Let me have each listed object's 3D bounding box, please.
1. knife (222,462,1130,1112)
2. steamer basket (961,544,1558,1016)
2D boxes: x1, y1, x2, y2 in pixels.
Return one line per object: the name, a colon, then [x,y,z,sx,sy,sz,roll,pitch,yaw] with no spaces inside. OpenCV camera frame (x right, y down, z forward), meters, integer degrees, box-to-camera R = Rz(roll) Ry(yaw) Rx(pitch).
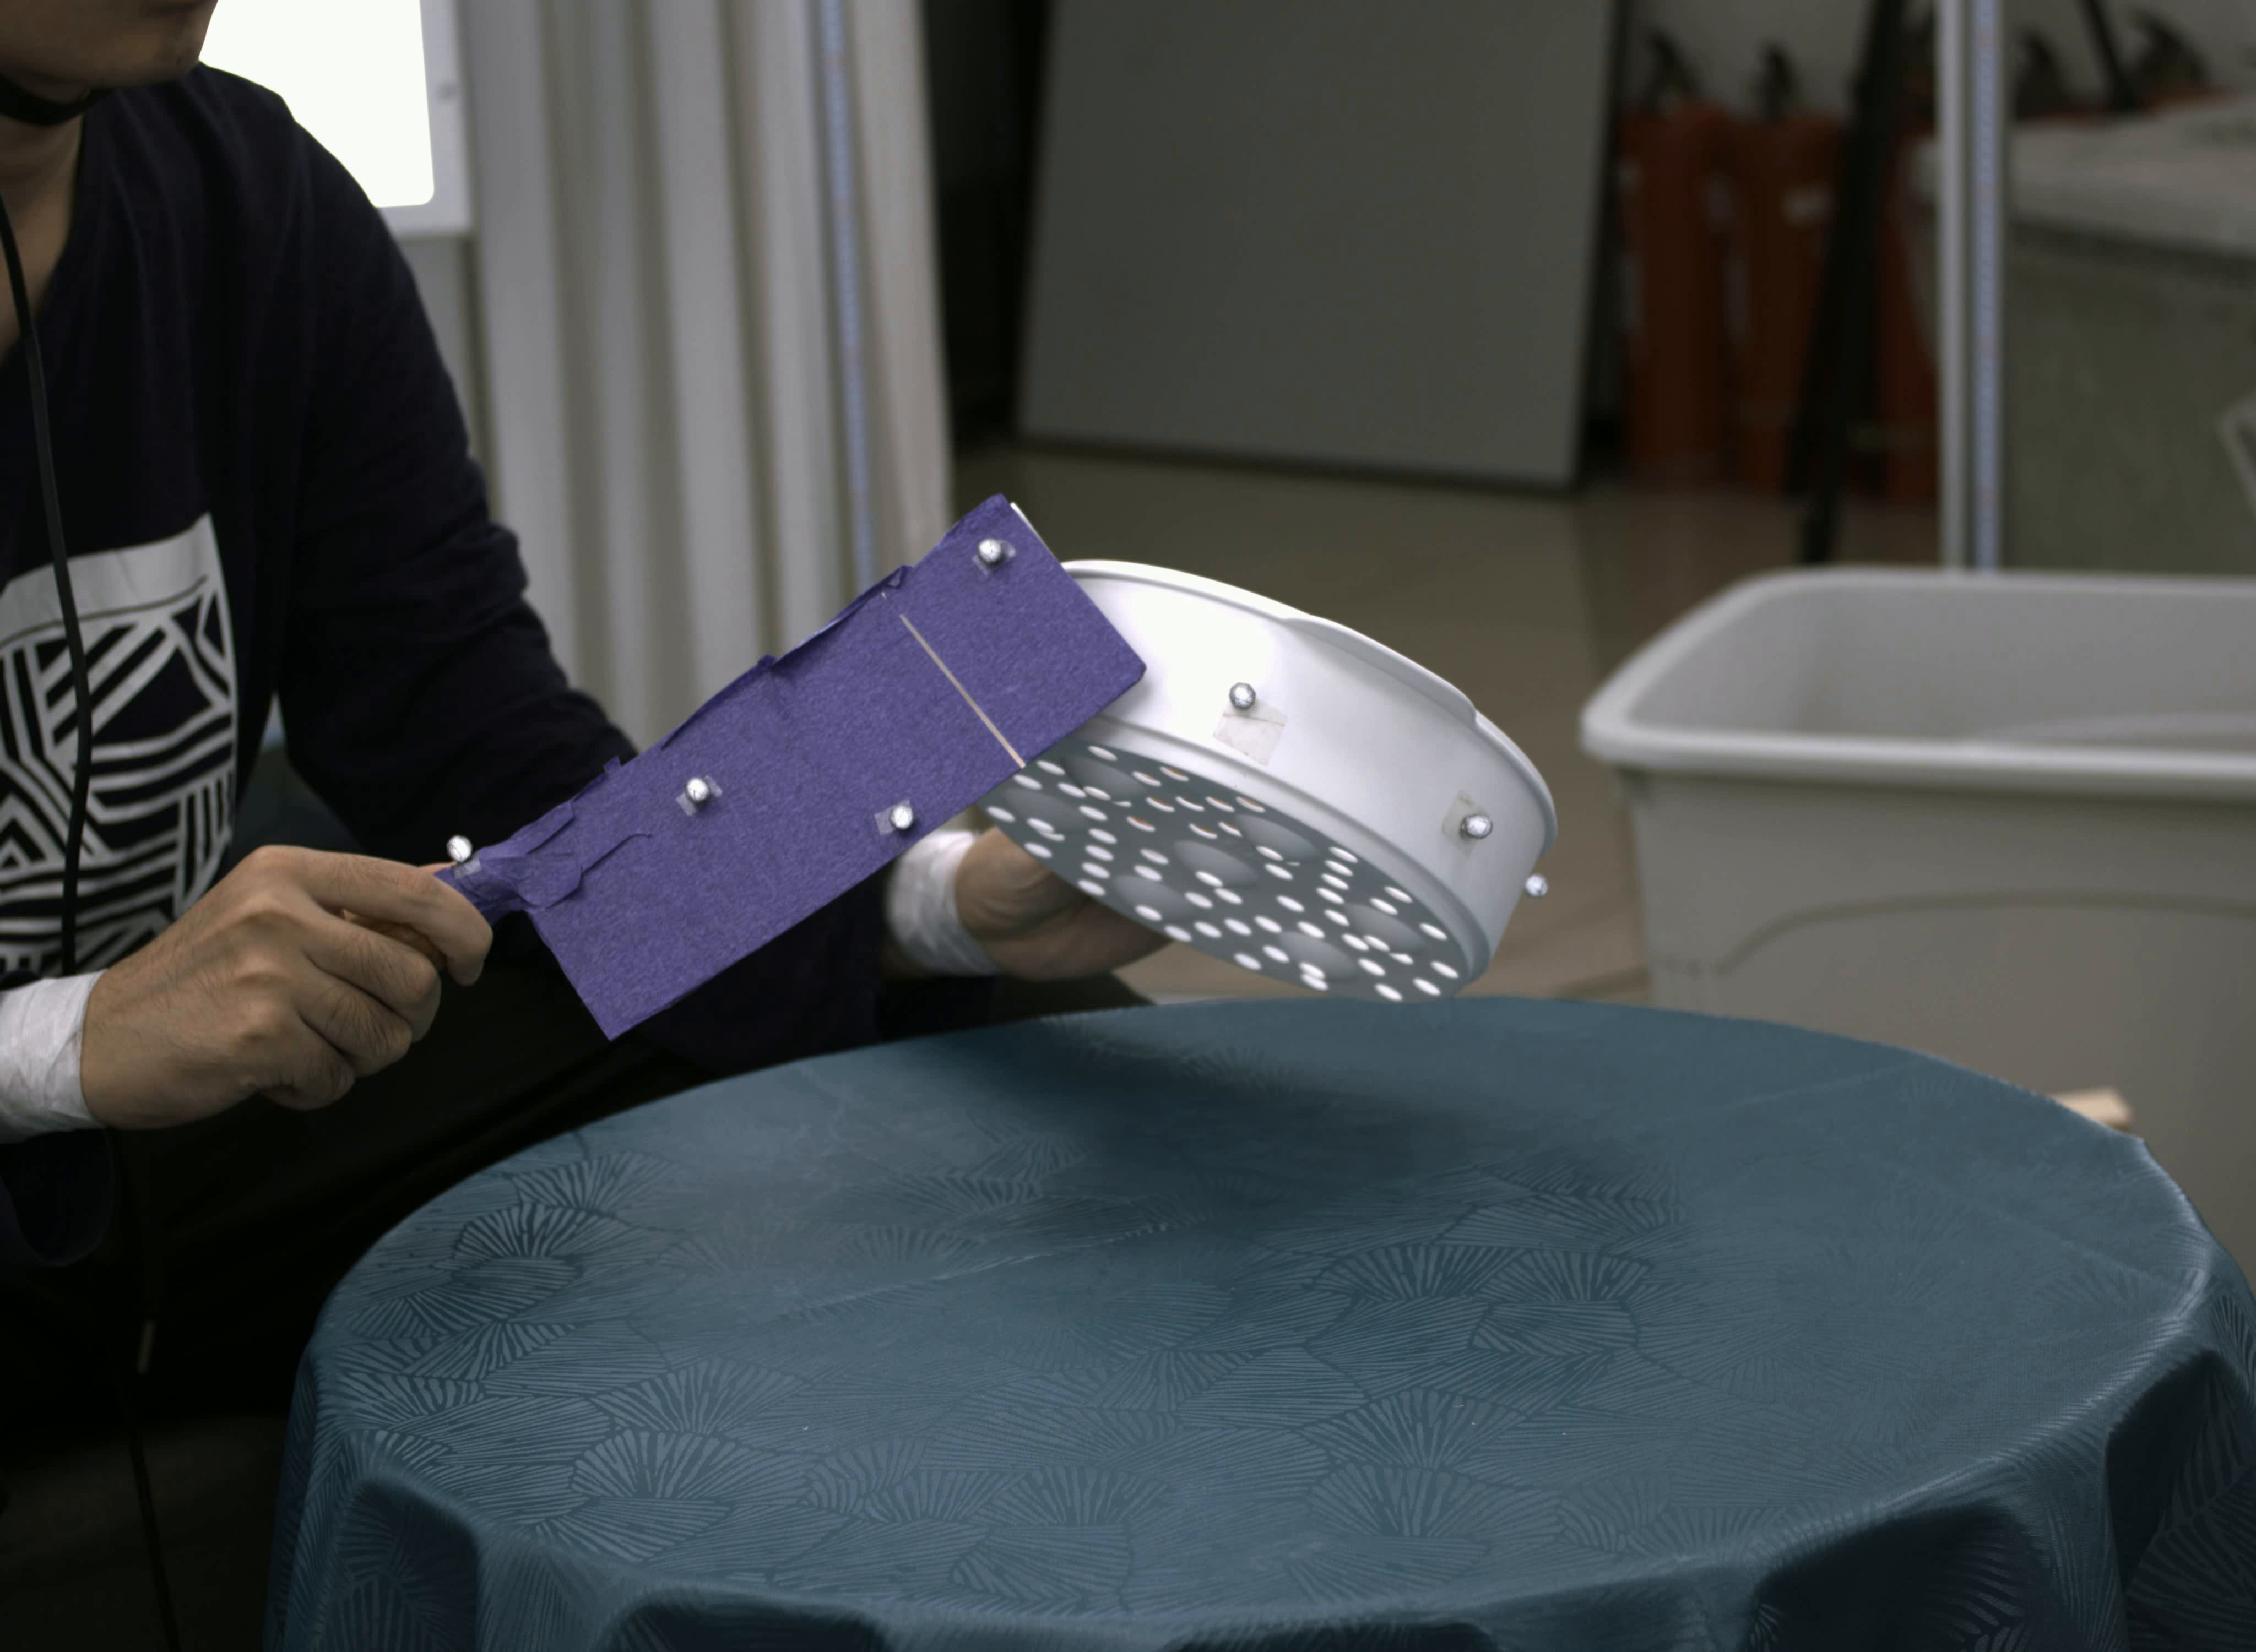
knife: [-0.142,0.006,1.712,0.314,0.032,0.105,-37,54,-1]
steamer basket: [0.040,-0.010,1.784,0.199,0.069,0.232,29,-21,-9]
